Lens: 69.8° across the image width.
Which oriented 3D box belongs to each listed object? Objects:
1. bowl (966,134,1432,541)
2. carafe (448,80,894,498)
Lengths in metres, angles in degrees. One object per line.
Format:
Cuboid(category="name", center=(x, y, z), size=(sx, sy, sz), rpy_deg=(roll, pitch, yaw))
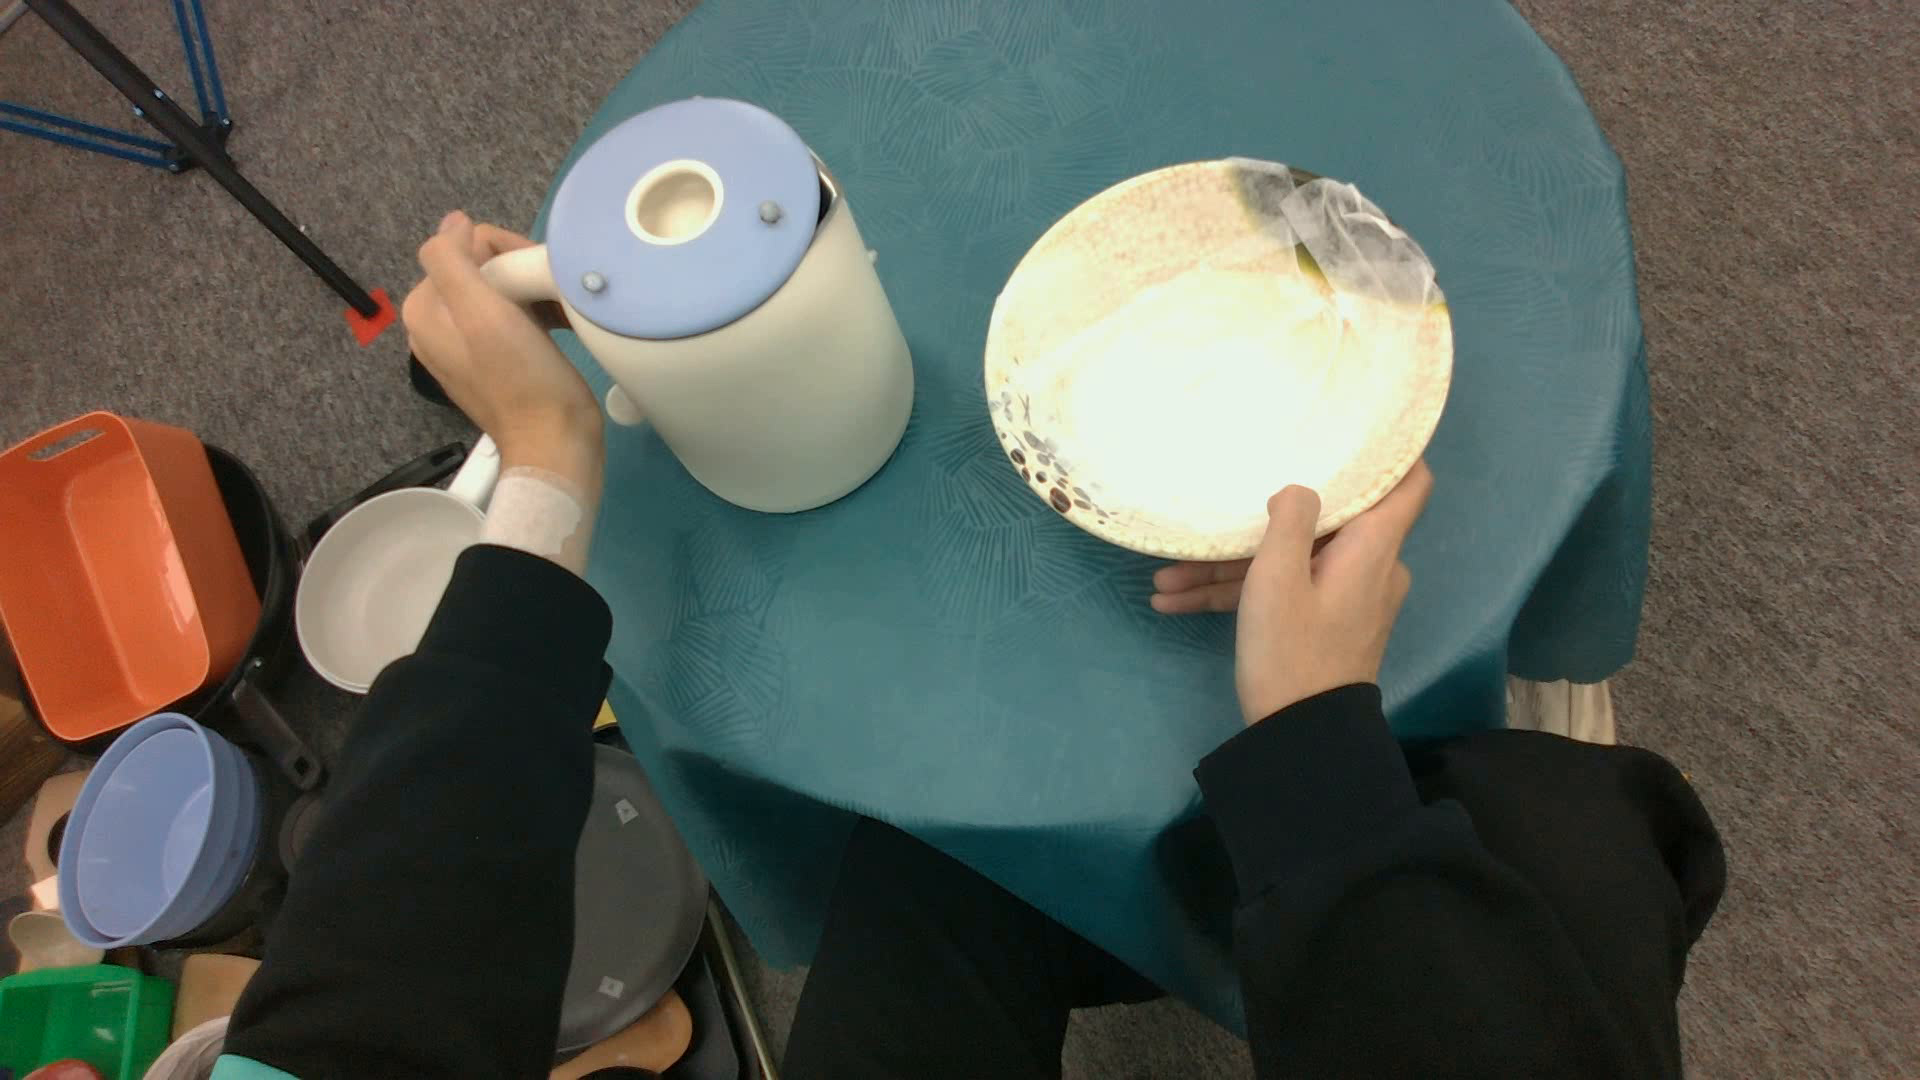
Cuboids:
Cuboid(category="bowl", center=(0.109, -0.083, 0.643), size=(0.204, 0.078, 0.204), rpy_deg=(-3, 69, 9))
Cuboid(category="carafe", center=(-0.135, -0.107, 0.648), size=(0.191, 0.182, 0.132), rpy_deg=(-9, 65, 9))
